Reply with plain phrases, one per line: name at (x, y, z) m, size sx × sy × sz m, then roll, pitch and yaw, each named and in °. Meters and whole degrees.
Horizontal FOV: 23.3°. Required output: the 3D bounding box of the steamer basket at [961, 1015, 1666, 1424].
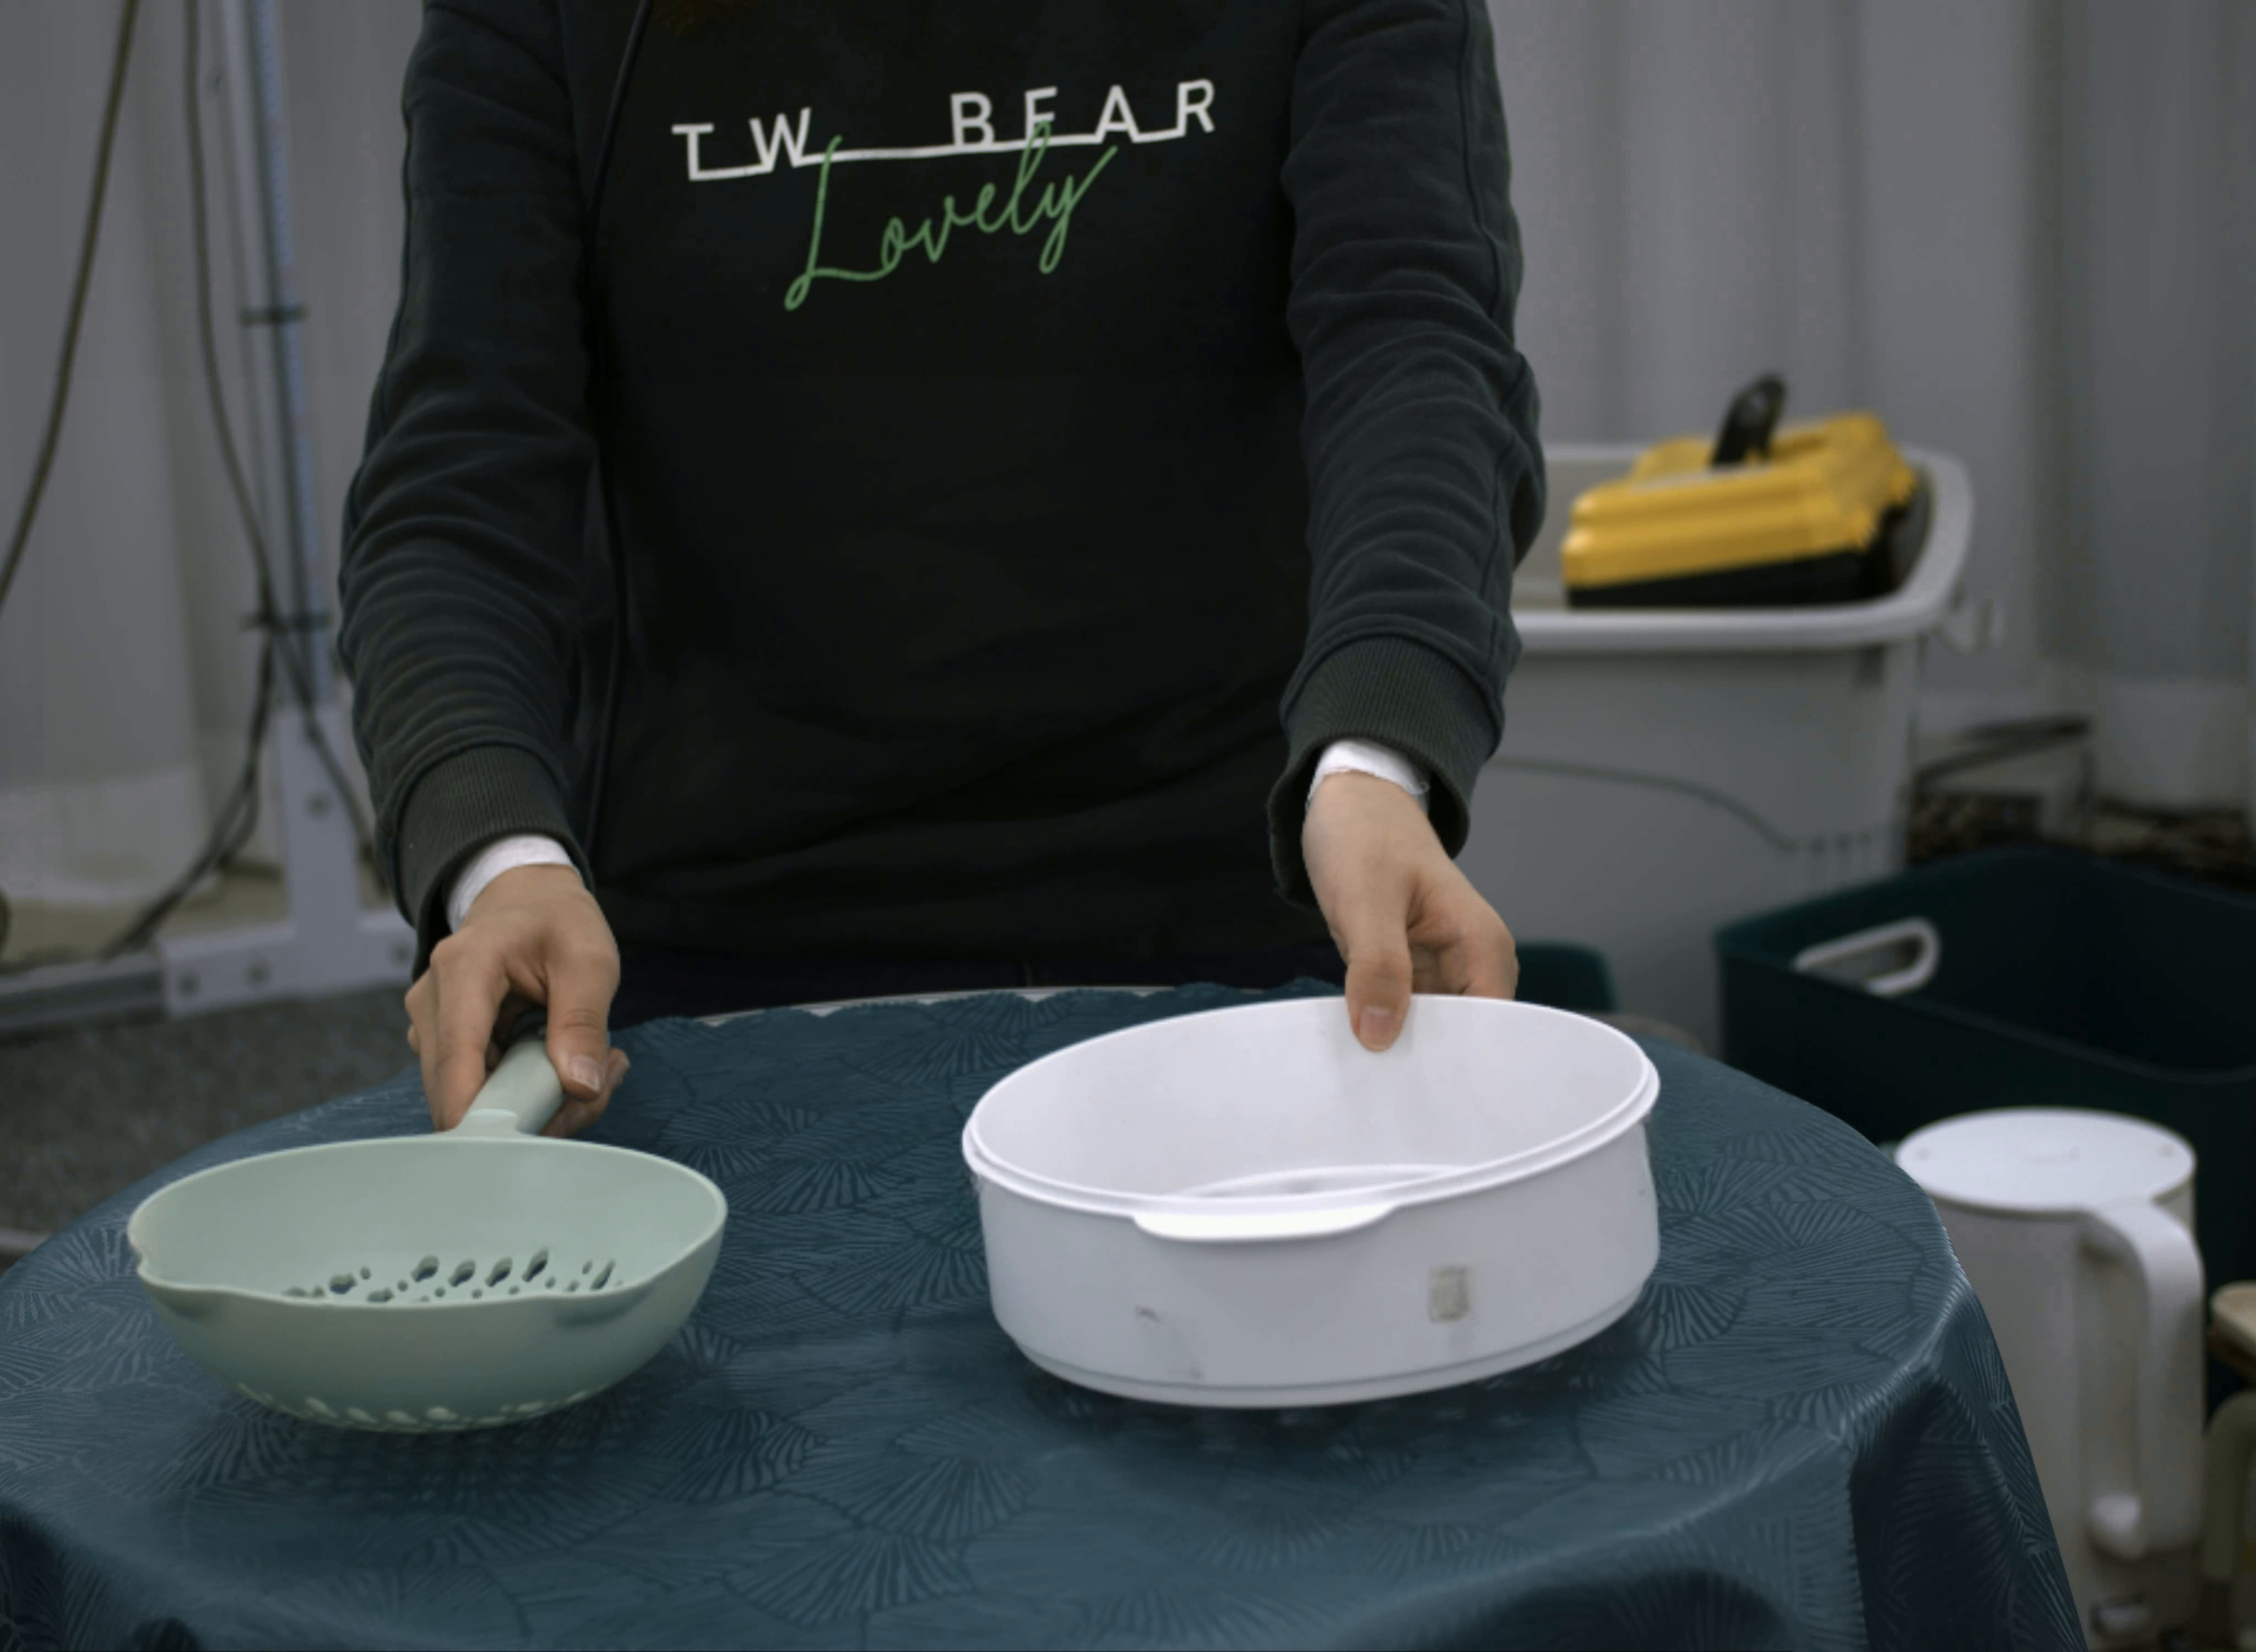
steamer basket at (0.055, 0.112, 1.565) m, size 0.201 × 0.069 × 0.231 m, roll -2°, pitch 13°, yaw 9°

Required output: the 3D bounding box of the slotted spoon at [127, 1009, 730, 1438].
slotted spoon at (-0.191, 0.103, 1.638) m, size 0.169 × 0.075 × 0.362 m, roll 1°, pitch 19°, yaw 3°
